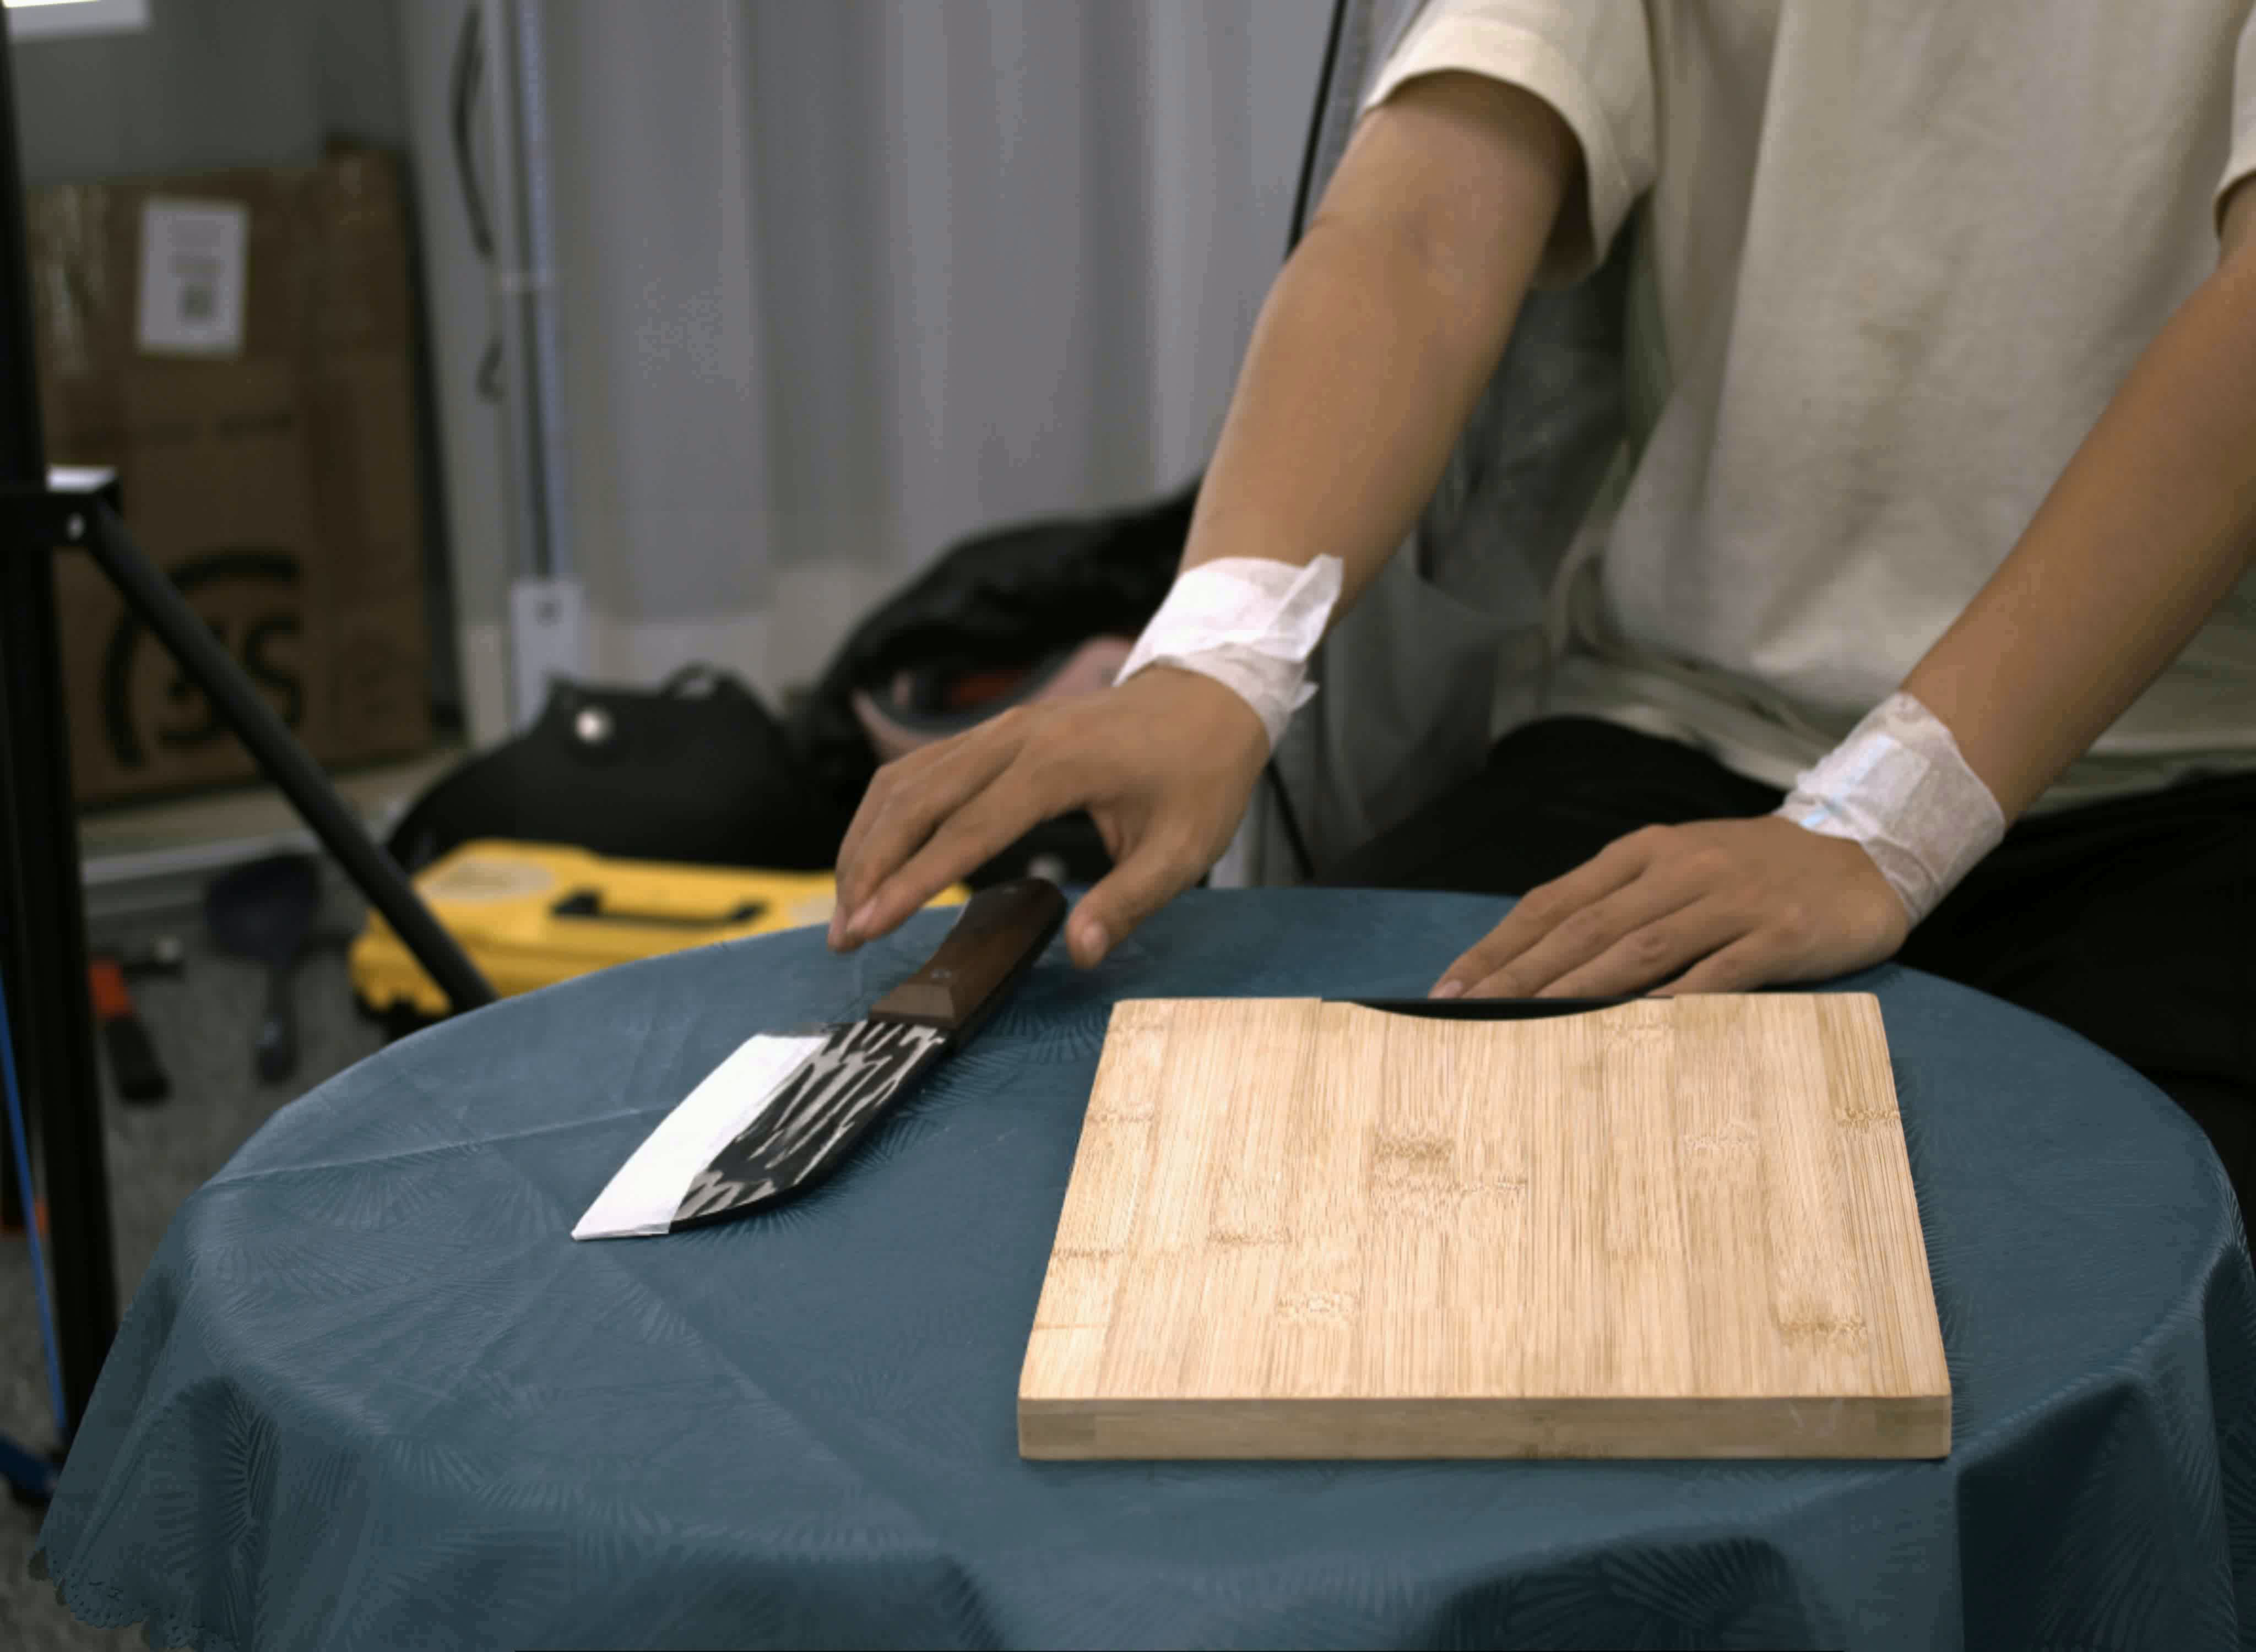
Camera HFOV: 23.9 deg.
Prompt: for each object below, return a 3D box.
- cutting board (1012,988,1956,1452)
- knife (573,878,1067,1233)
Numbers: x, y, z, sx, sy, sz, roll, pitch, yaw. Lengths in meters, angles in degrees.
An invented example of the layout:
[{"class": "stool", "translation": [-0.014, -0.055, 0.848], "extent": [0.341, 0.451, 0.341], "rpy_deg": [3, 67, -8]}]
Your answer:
[{"class": "cutting board", "translation": [0.104, 0.107, 1.511], "extent": [0.250, 0.023, 0.349], "rpy_deg": [-1, 15, 4]}, {"class": "knife", "translation": [-0.092, 0.072, 1.664], "extent": [0.069, 0.024, 0.296], "rpy_deg": [1, 18, 20]}]
